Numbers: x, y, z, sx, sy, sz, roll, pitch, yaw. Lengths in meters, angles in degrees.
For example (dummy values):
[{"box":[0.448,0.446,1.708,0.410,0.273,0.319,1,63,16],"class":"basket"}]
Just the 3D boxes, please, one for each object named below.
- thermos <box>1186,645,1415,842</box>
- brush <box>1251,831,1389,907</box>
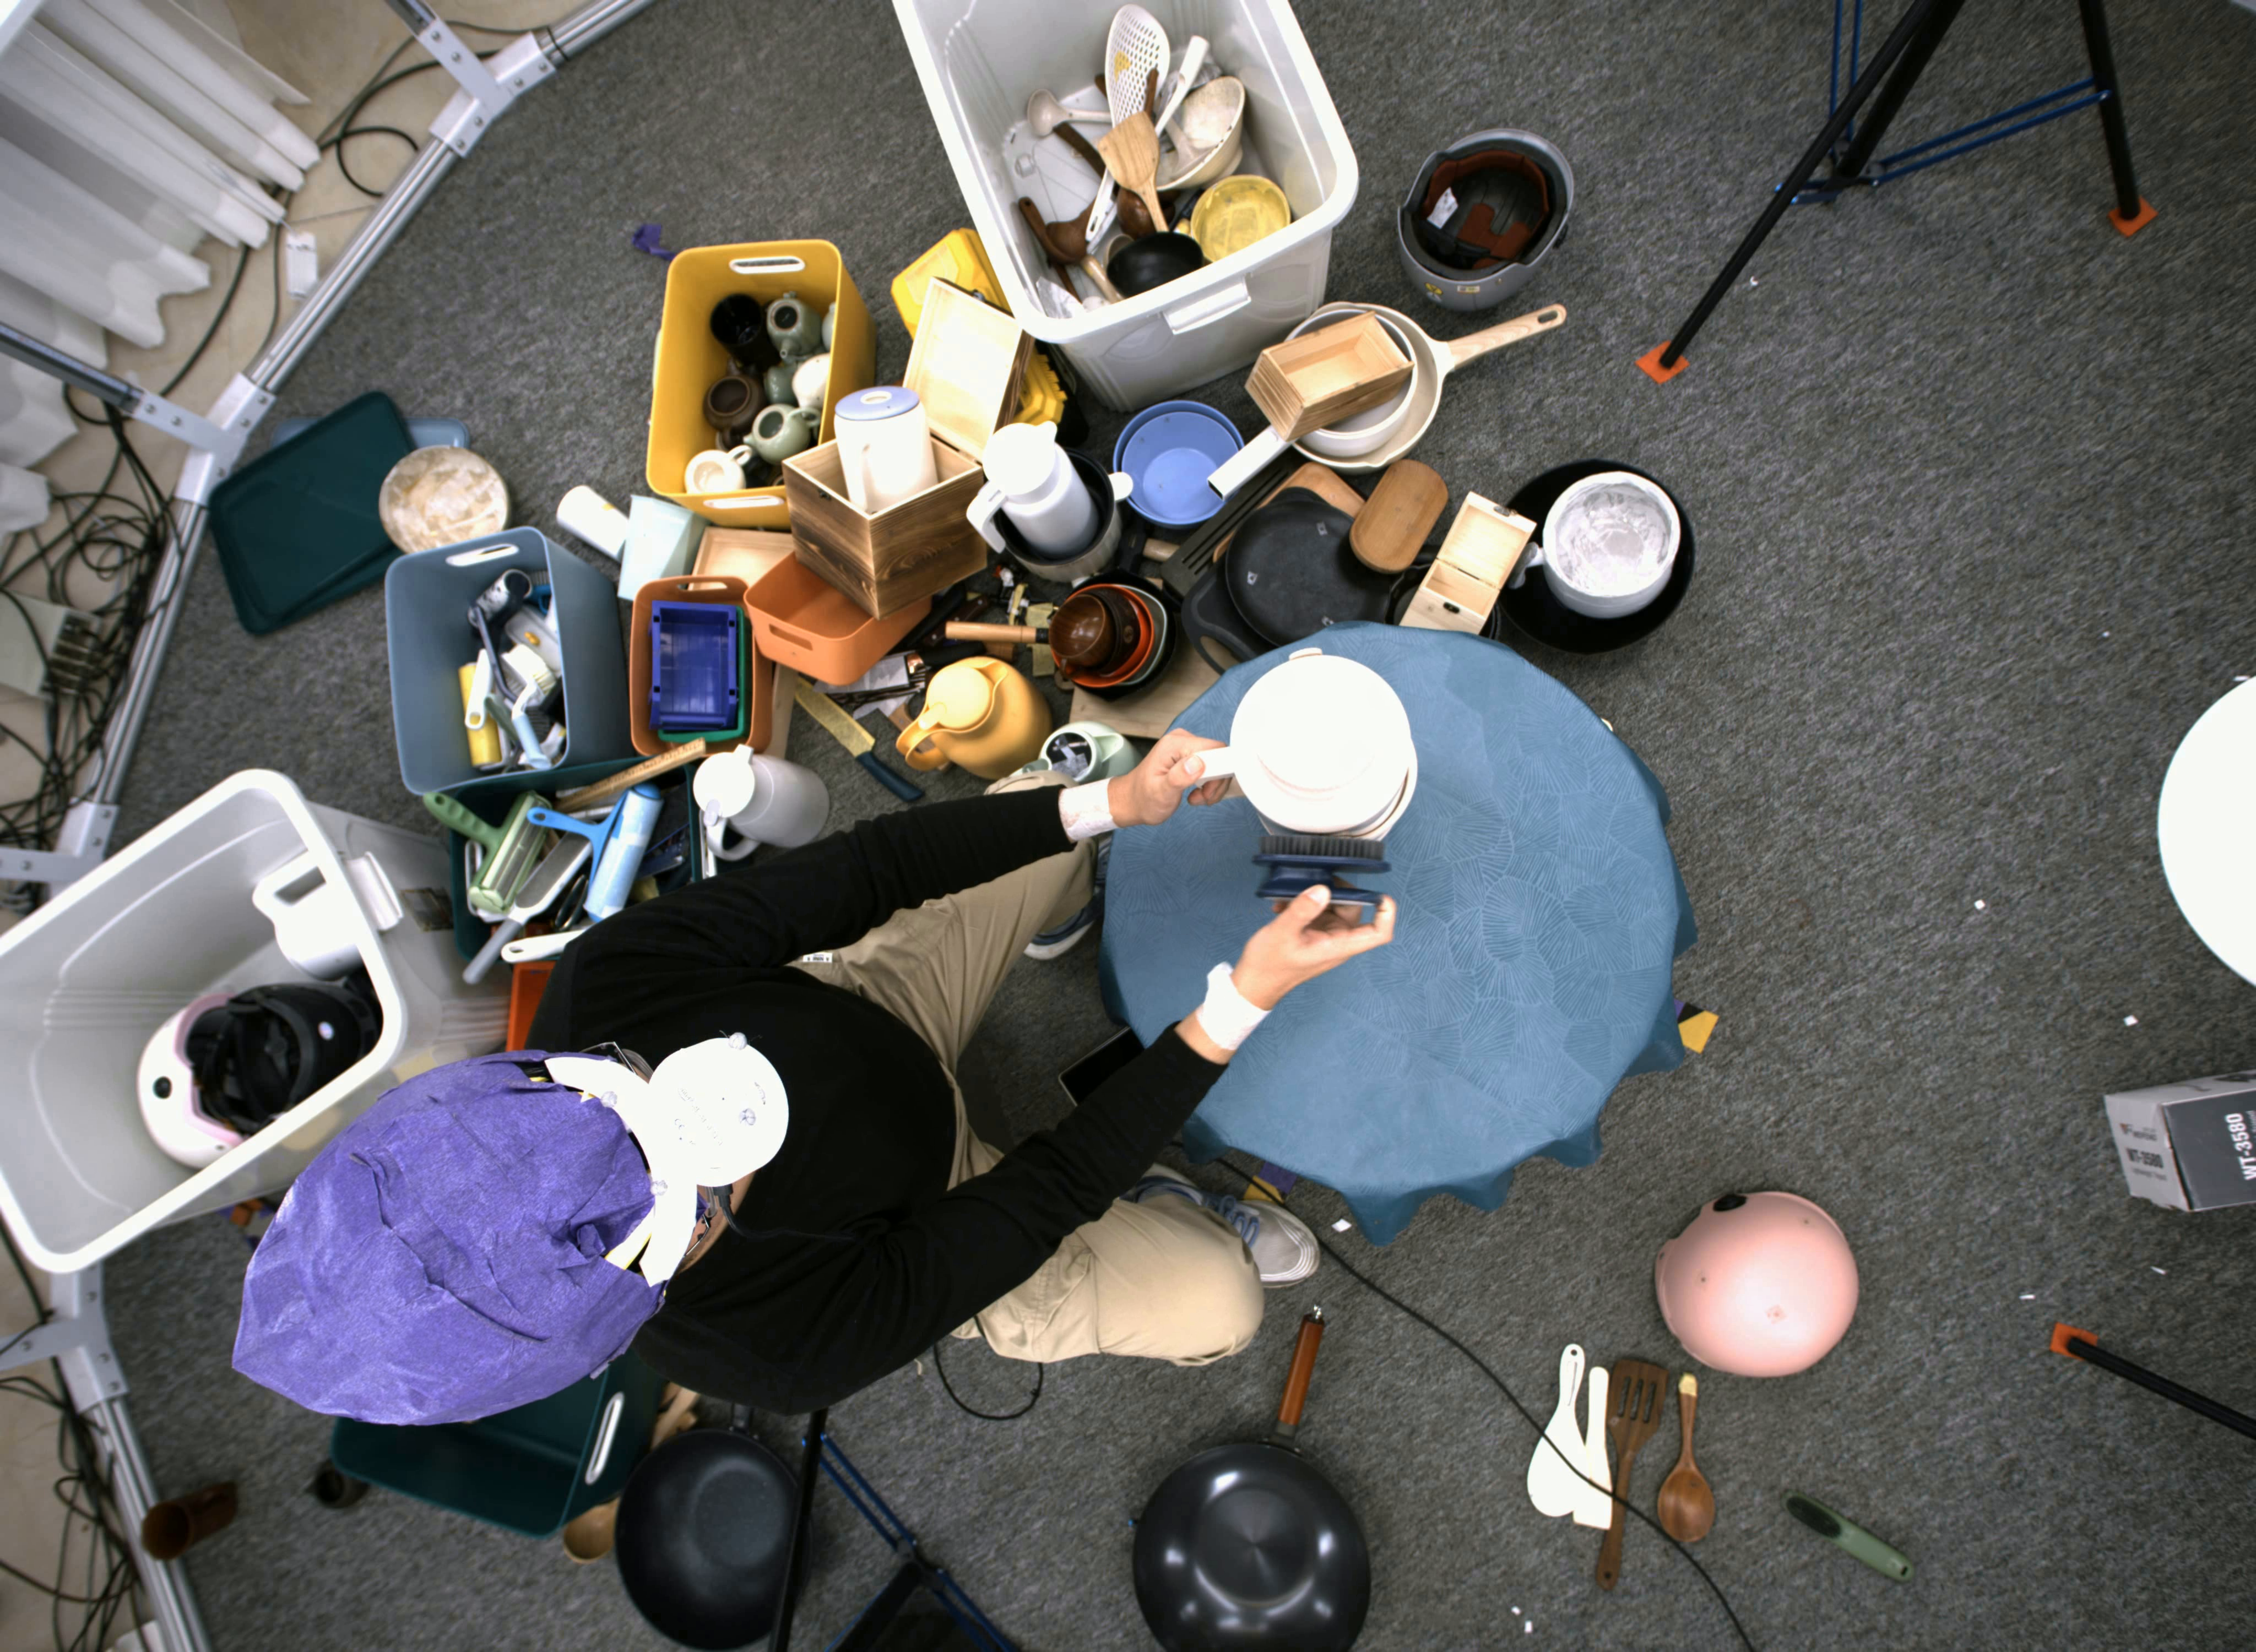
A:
[{"box":[0.166,-0.063,1.286,0.208,0.406,0.174,-10,84,8],"class":"thermos"},{"box":[0.166,0.035,1.202,0.122,0.068,0.061,4,86,19],"class":"brush"}]
